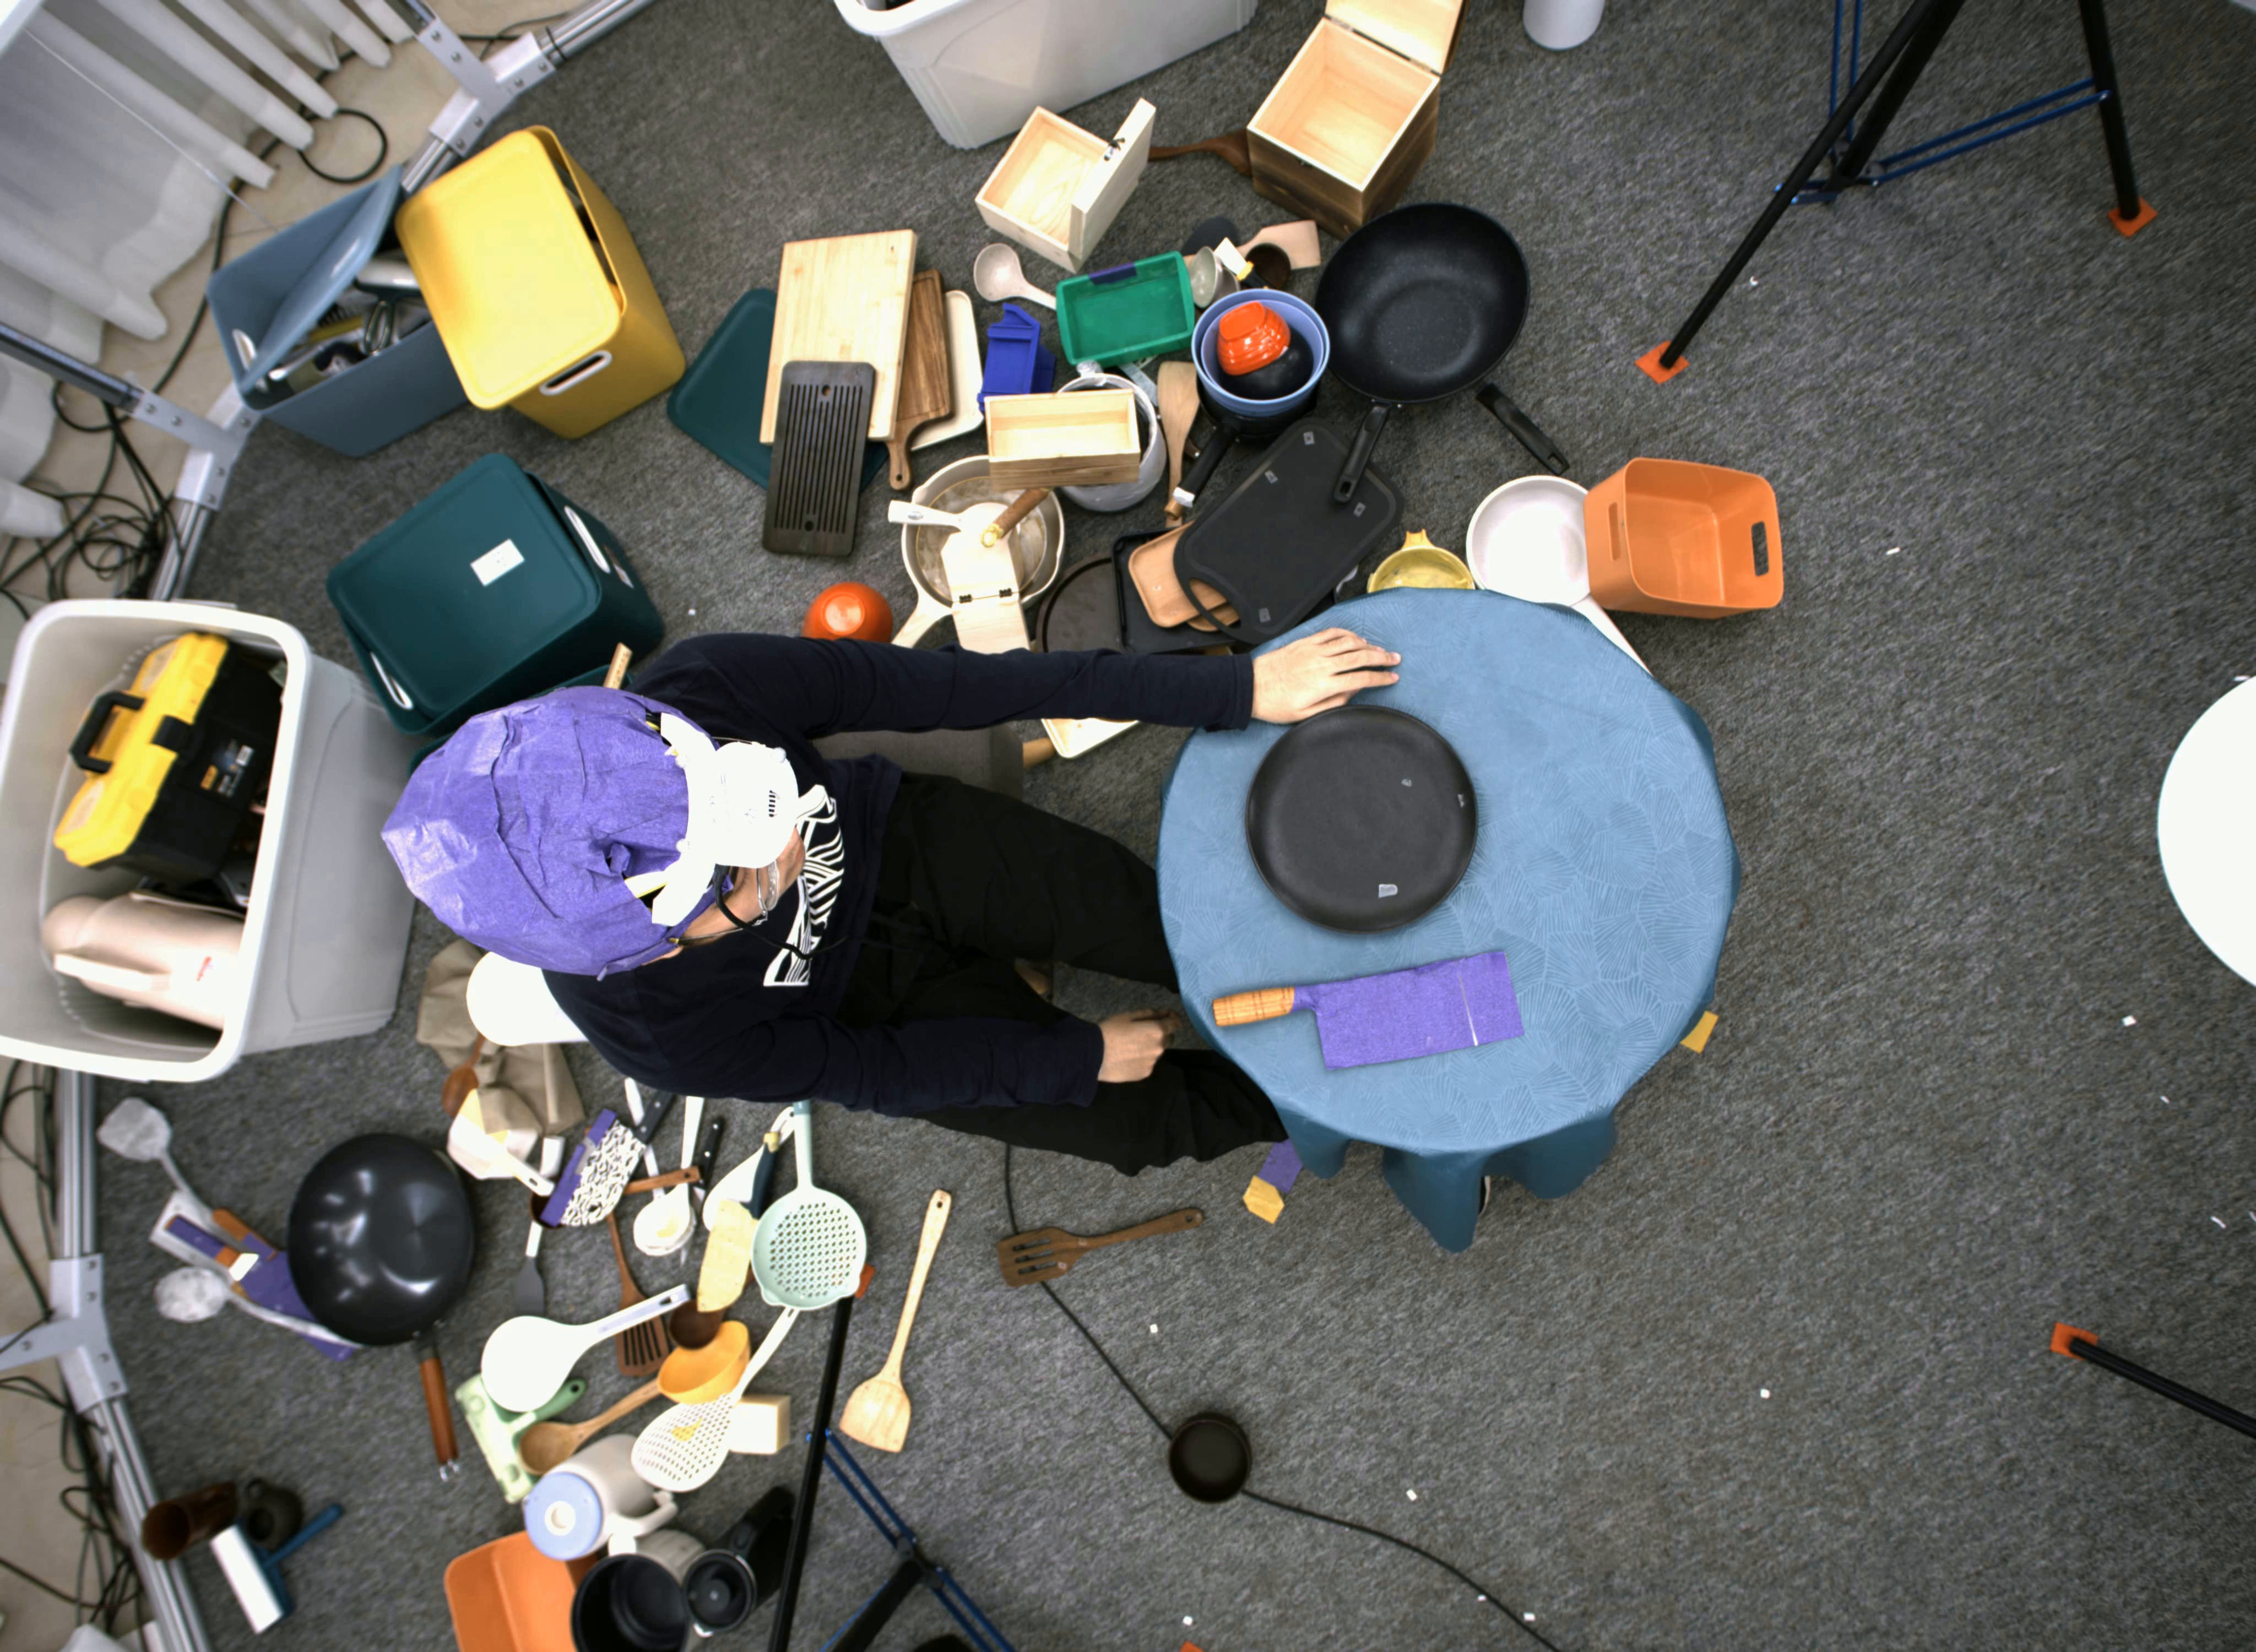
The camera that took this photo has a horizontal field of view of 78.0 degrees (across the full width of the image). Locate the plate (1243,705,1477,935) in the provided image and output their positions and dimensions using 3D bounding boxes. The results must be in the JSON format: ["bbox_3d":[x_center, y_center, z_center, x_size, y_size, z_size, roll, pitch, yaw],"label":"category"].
[{"bbox_3d":[0.244,-0.007,1.458,0.245,0.023,0.243,-1,86,11],"label":"plate"}]

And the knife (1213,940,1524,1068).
[{"bbox_3d":[0.250,0.198,1.443,0.317,0.032,0.103,-12,84,9],"label":"knife"}]
